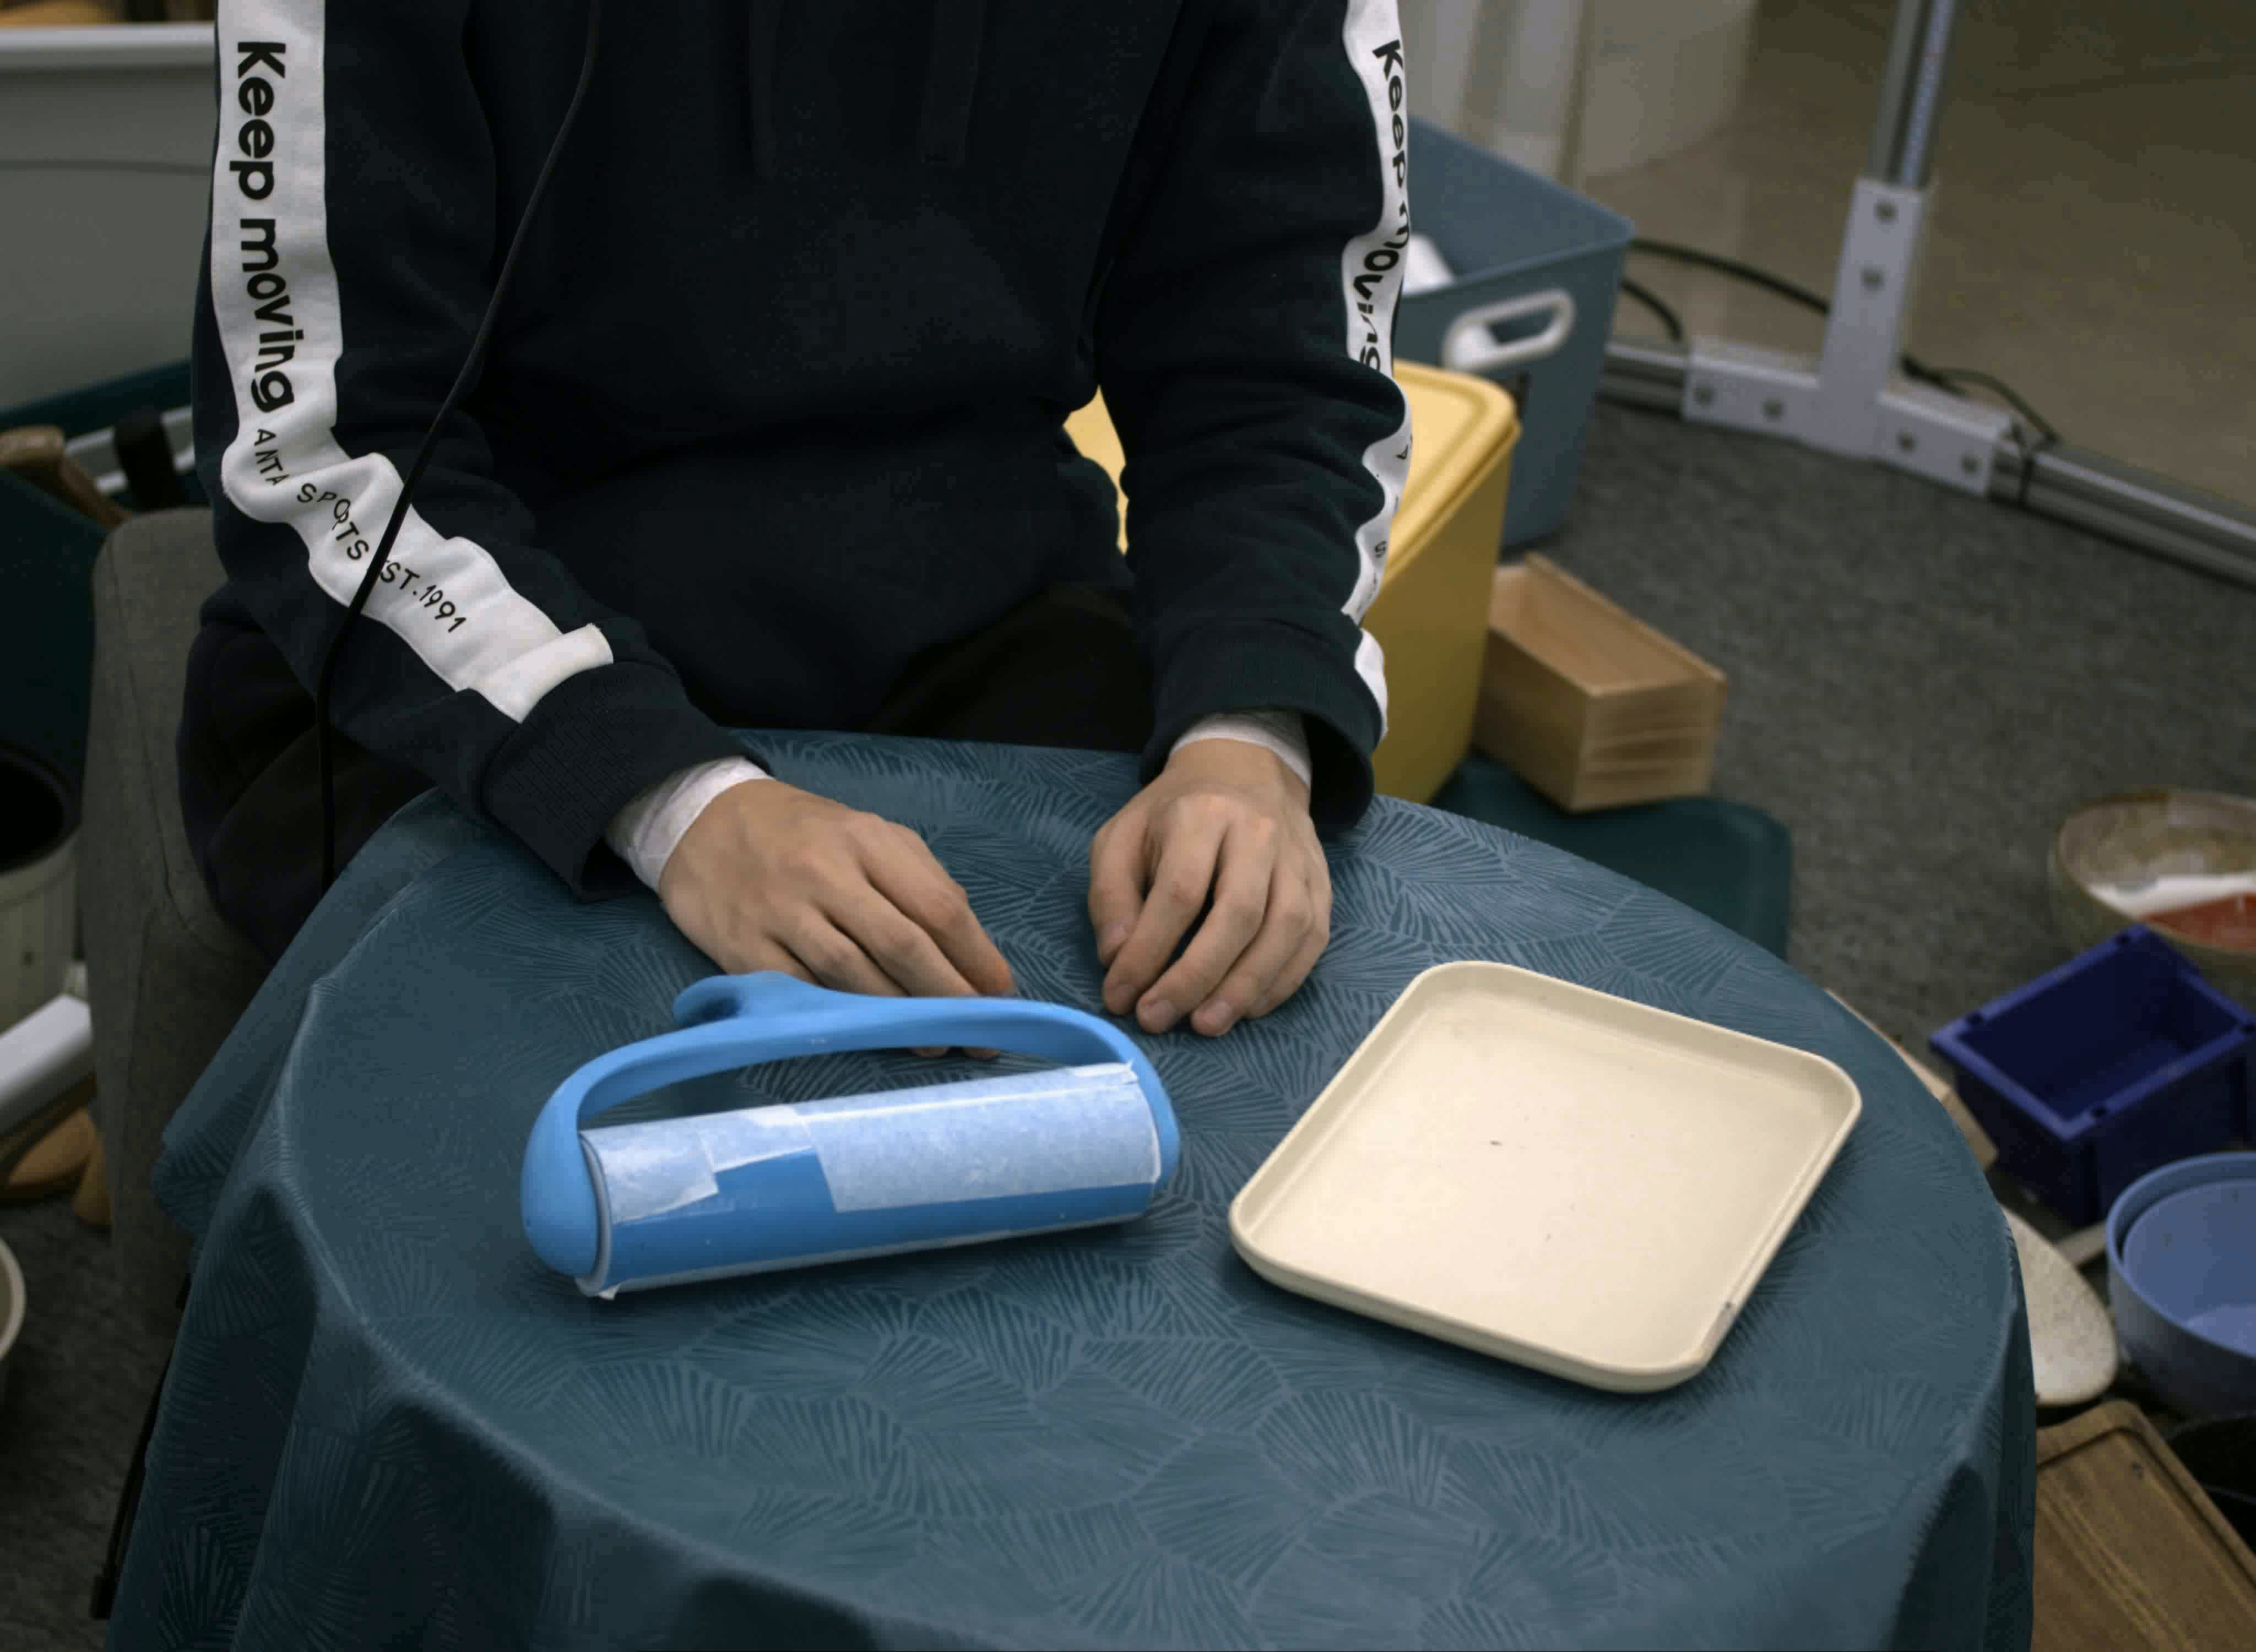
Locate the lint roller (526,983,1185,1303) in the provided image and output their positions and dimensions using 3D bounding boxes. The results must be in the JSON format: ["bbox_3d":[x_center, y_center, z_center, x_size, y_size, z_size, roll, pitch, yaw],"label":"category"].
[{"bbox_3d":[-0.113,0.087,1.782,0.227,0.067,0.182,-9,31,-25],"label":"lint roller"}]

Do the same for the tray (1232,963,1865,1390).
[{"bbox_3d":[0.146,0.118,1.822,0.172,0.017,0.240,15,28,18],"label":"tray"}]
